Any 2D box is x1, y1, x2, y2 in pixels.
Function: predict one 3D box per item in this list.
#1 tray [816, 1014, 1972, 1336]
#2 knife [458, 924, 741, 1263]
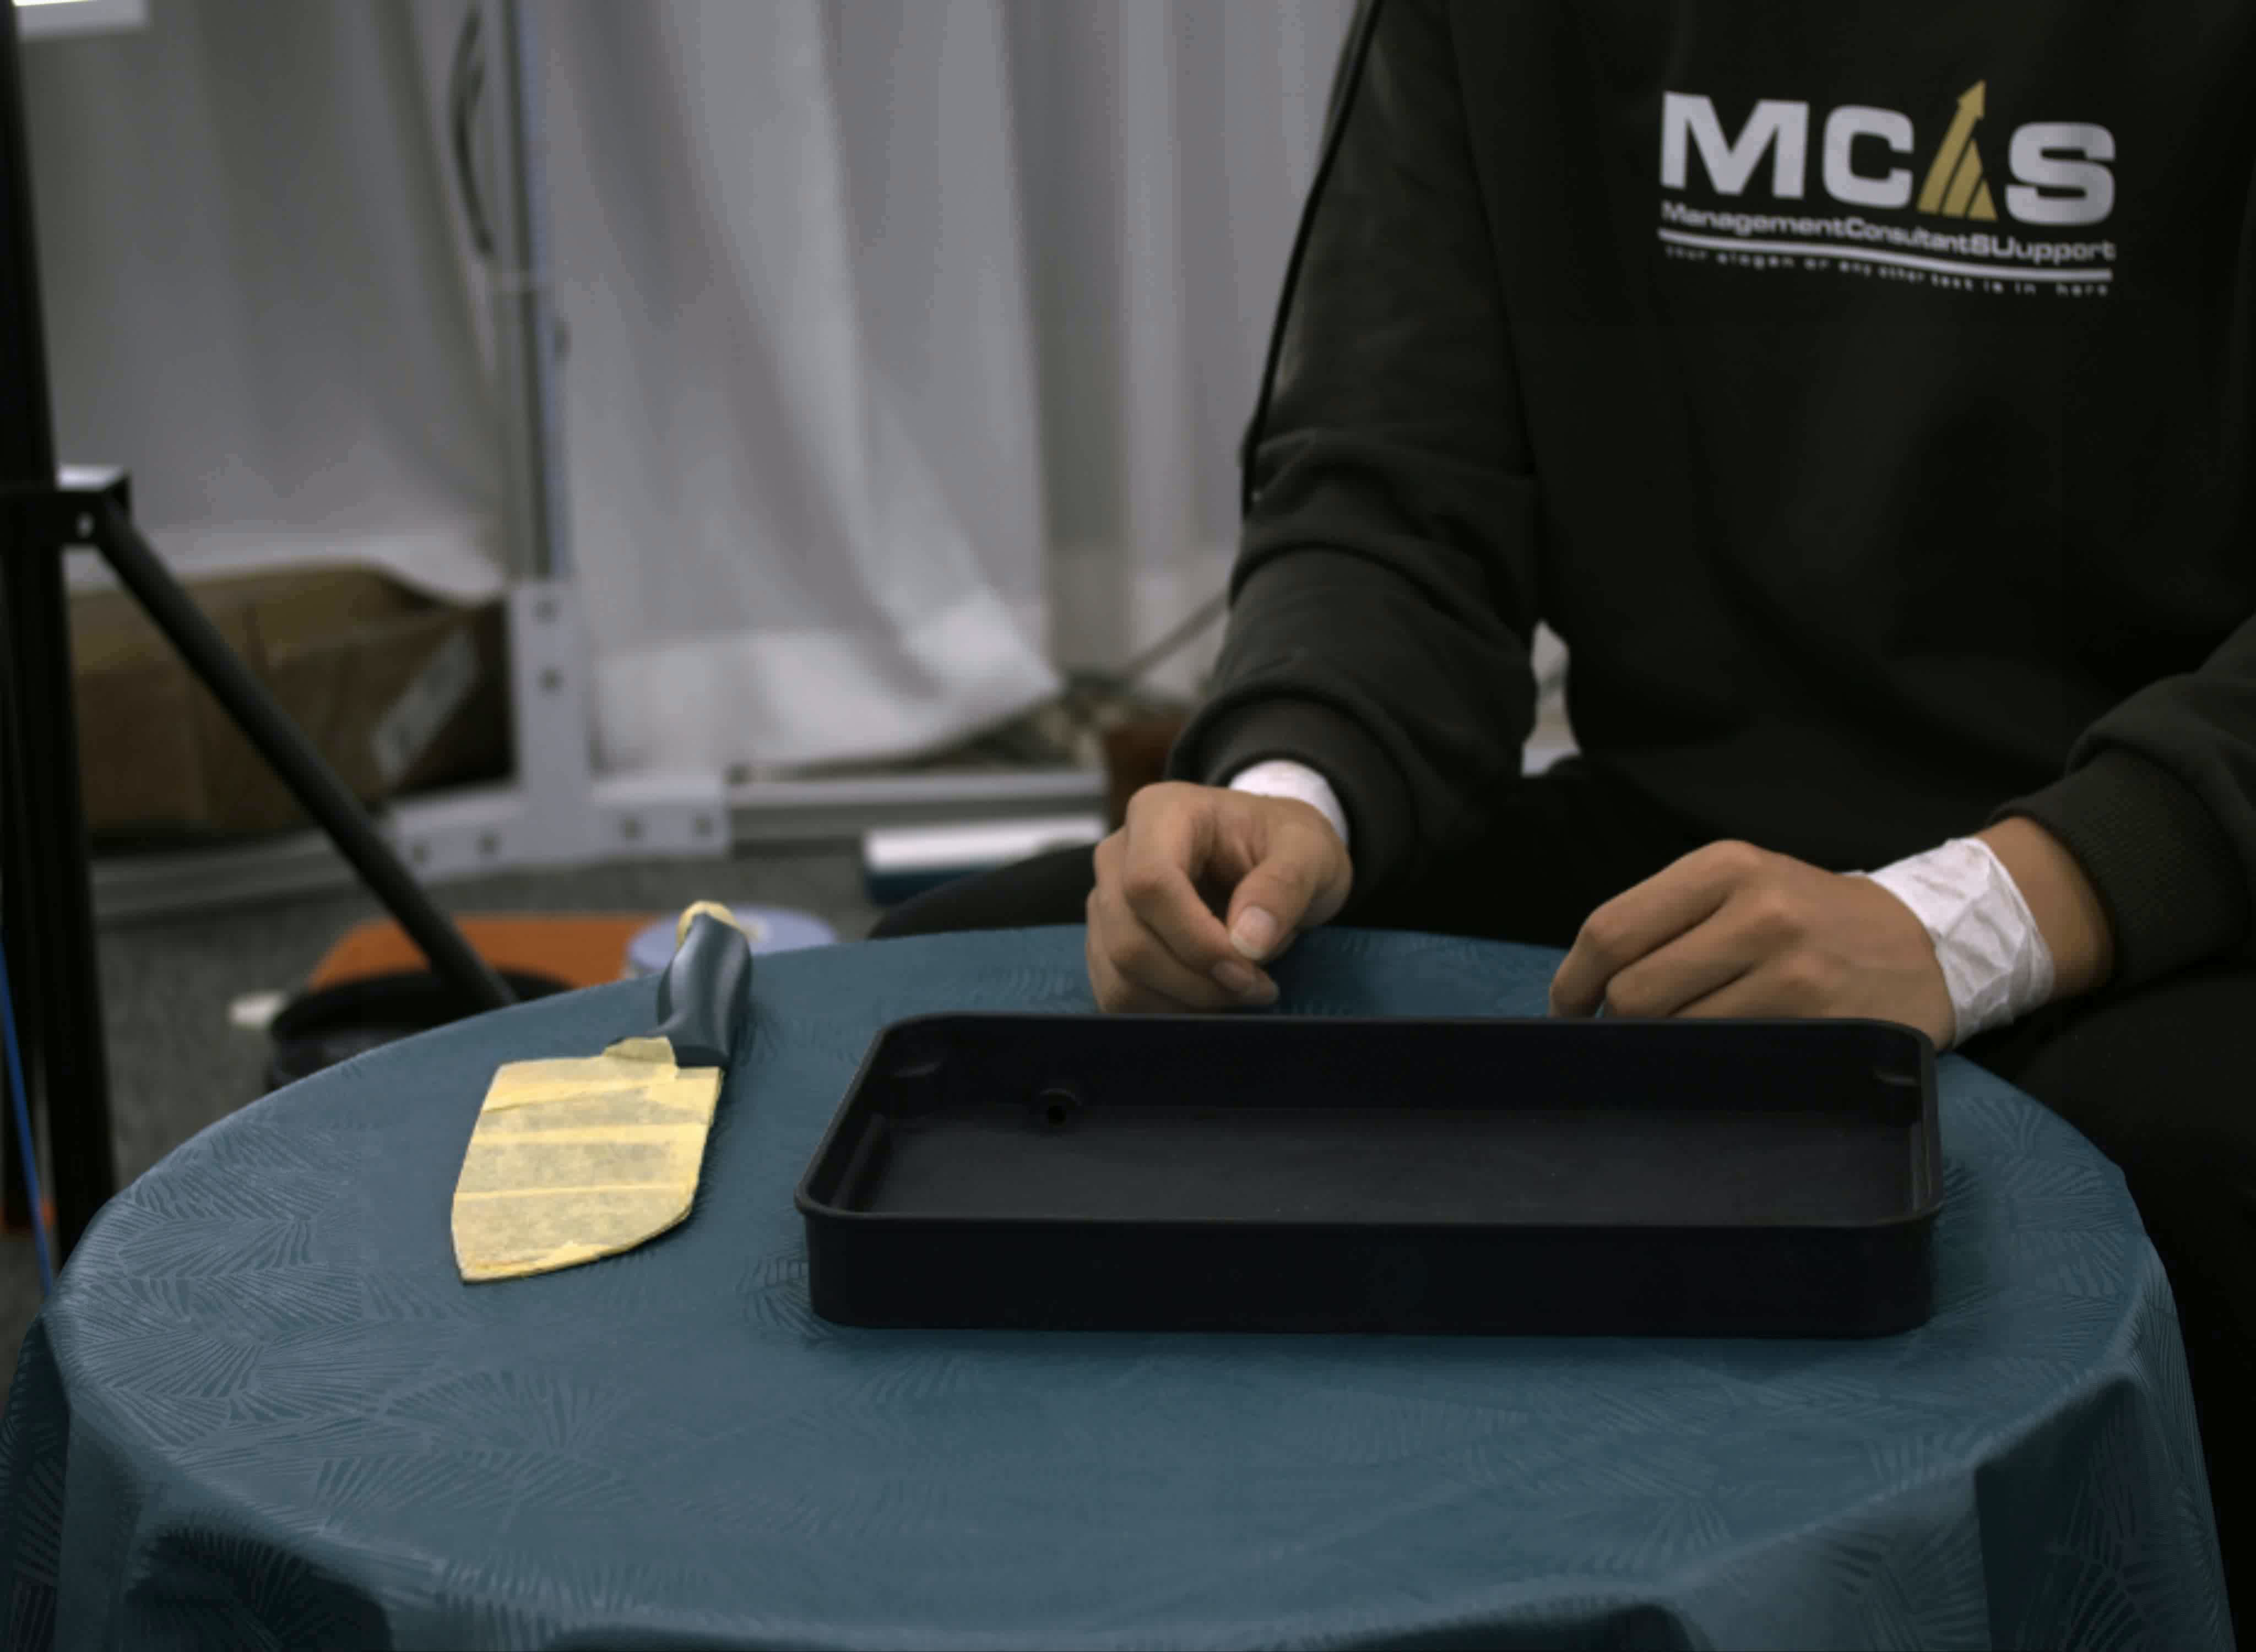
[{"bbox_3d":[0.078,0.098,1.520,0.318,0.037,0.184,0,15,7],"label":"tray"},{"bbox_3d":[-0.160,0.083,1.650,0.081,0.027,0.290,0,17,4],"label":"knife"}]
